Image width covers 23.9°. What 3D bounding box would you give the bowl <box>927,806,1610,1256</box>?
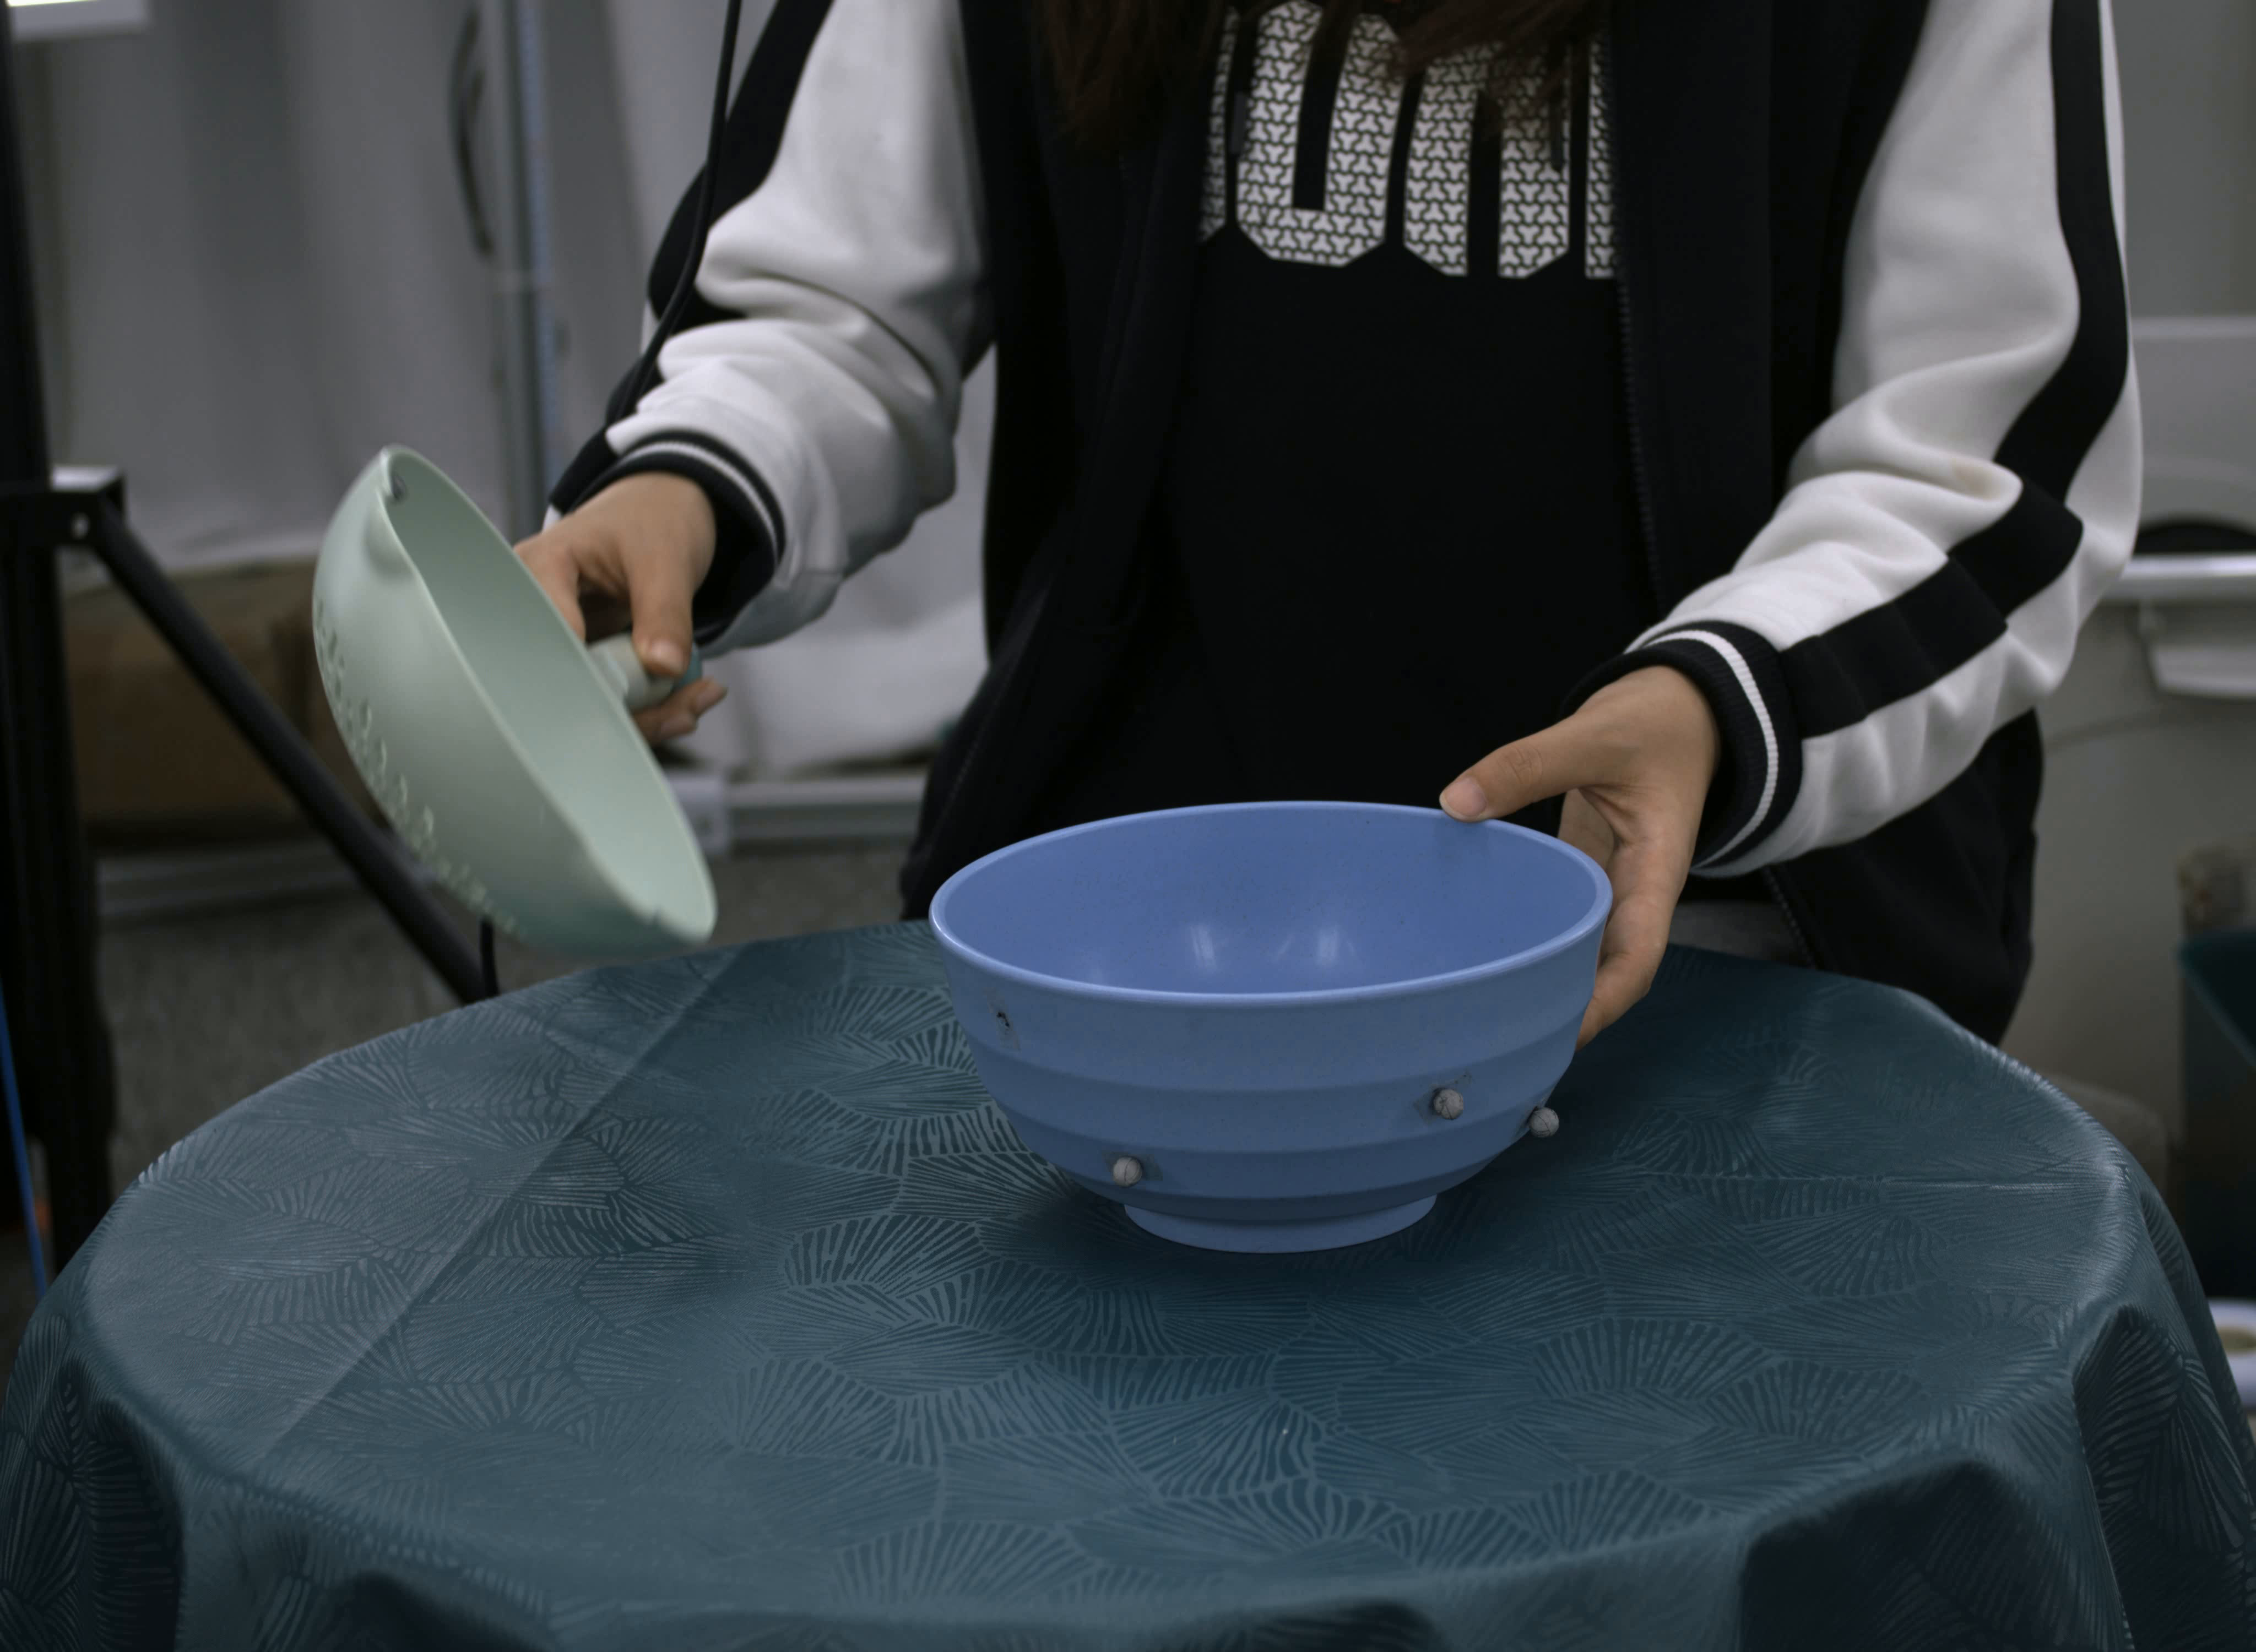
[{"bbox_3d":[0.042,0.064,1.532,0.195,0.095,0.197,-3,15,-1],"label":"bowl"}]

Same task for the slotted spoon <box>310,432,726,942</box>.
[{"bbox_3d":[-0.168,-0.045,1.641,0.076,0.170,0.356,-33,1,14],"label":"slotted spoon"}]
